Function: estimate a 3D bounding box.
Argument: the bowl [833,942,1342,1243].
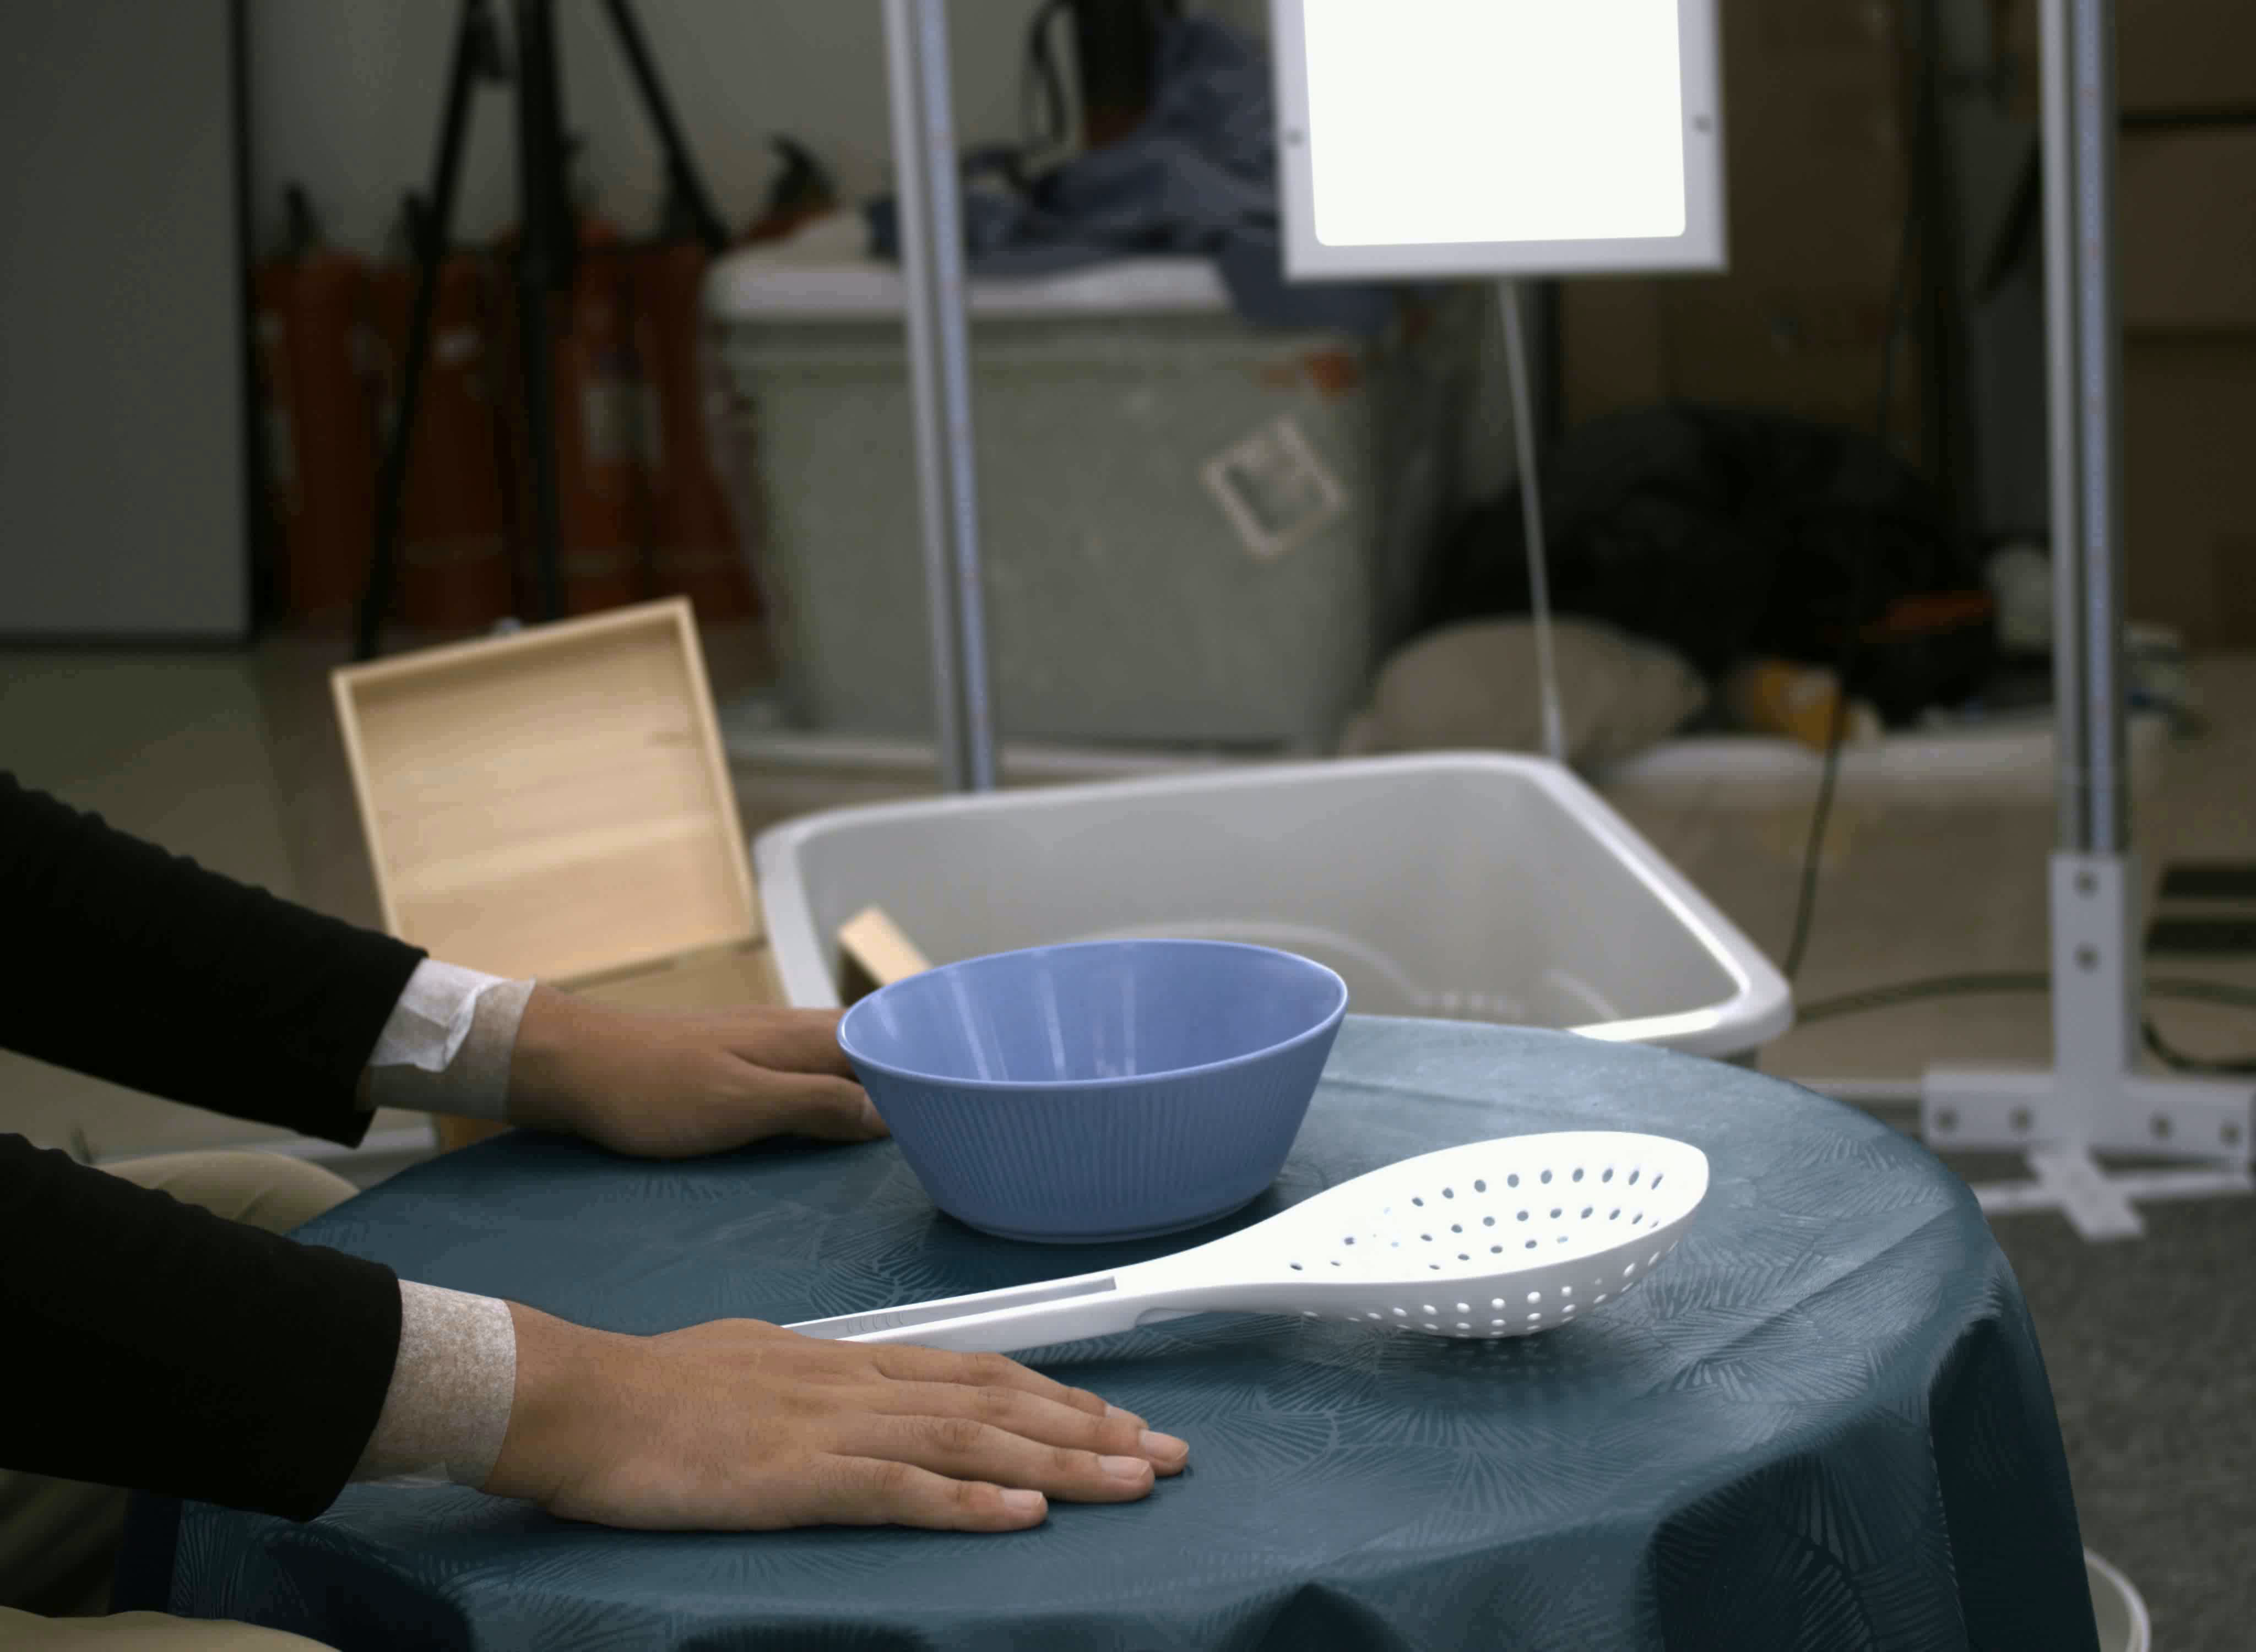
[{"bbox_3d":[-0.011,0.094,1.889,0.175,0.070,0.176,-6,14,0],"label":"bowl"}]

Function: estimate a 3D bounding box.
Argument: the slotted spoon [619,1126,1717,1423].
[{"bbox_3d":[0.013,0.145,1.723,0.348,0.046,0.136,-6,14,-1],"label":"slotted spoon"}]
